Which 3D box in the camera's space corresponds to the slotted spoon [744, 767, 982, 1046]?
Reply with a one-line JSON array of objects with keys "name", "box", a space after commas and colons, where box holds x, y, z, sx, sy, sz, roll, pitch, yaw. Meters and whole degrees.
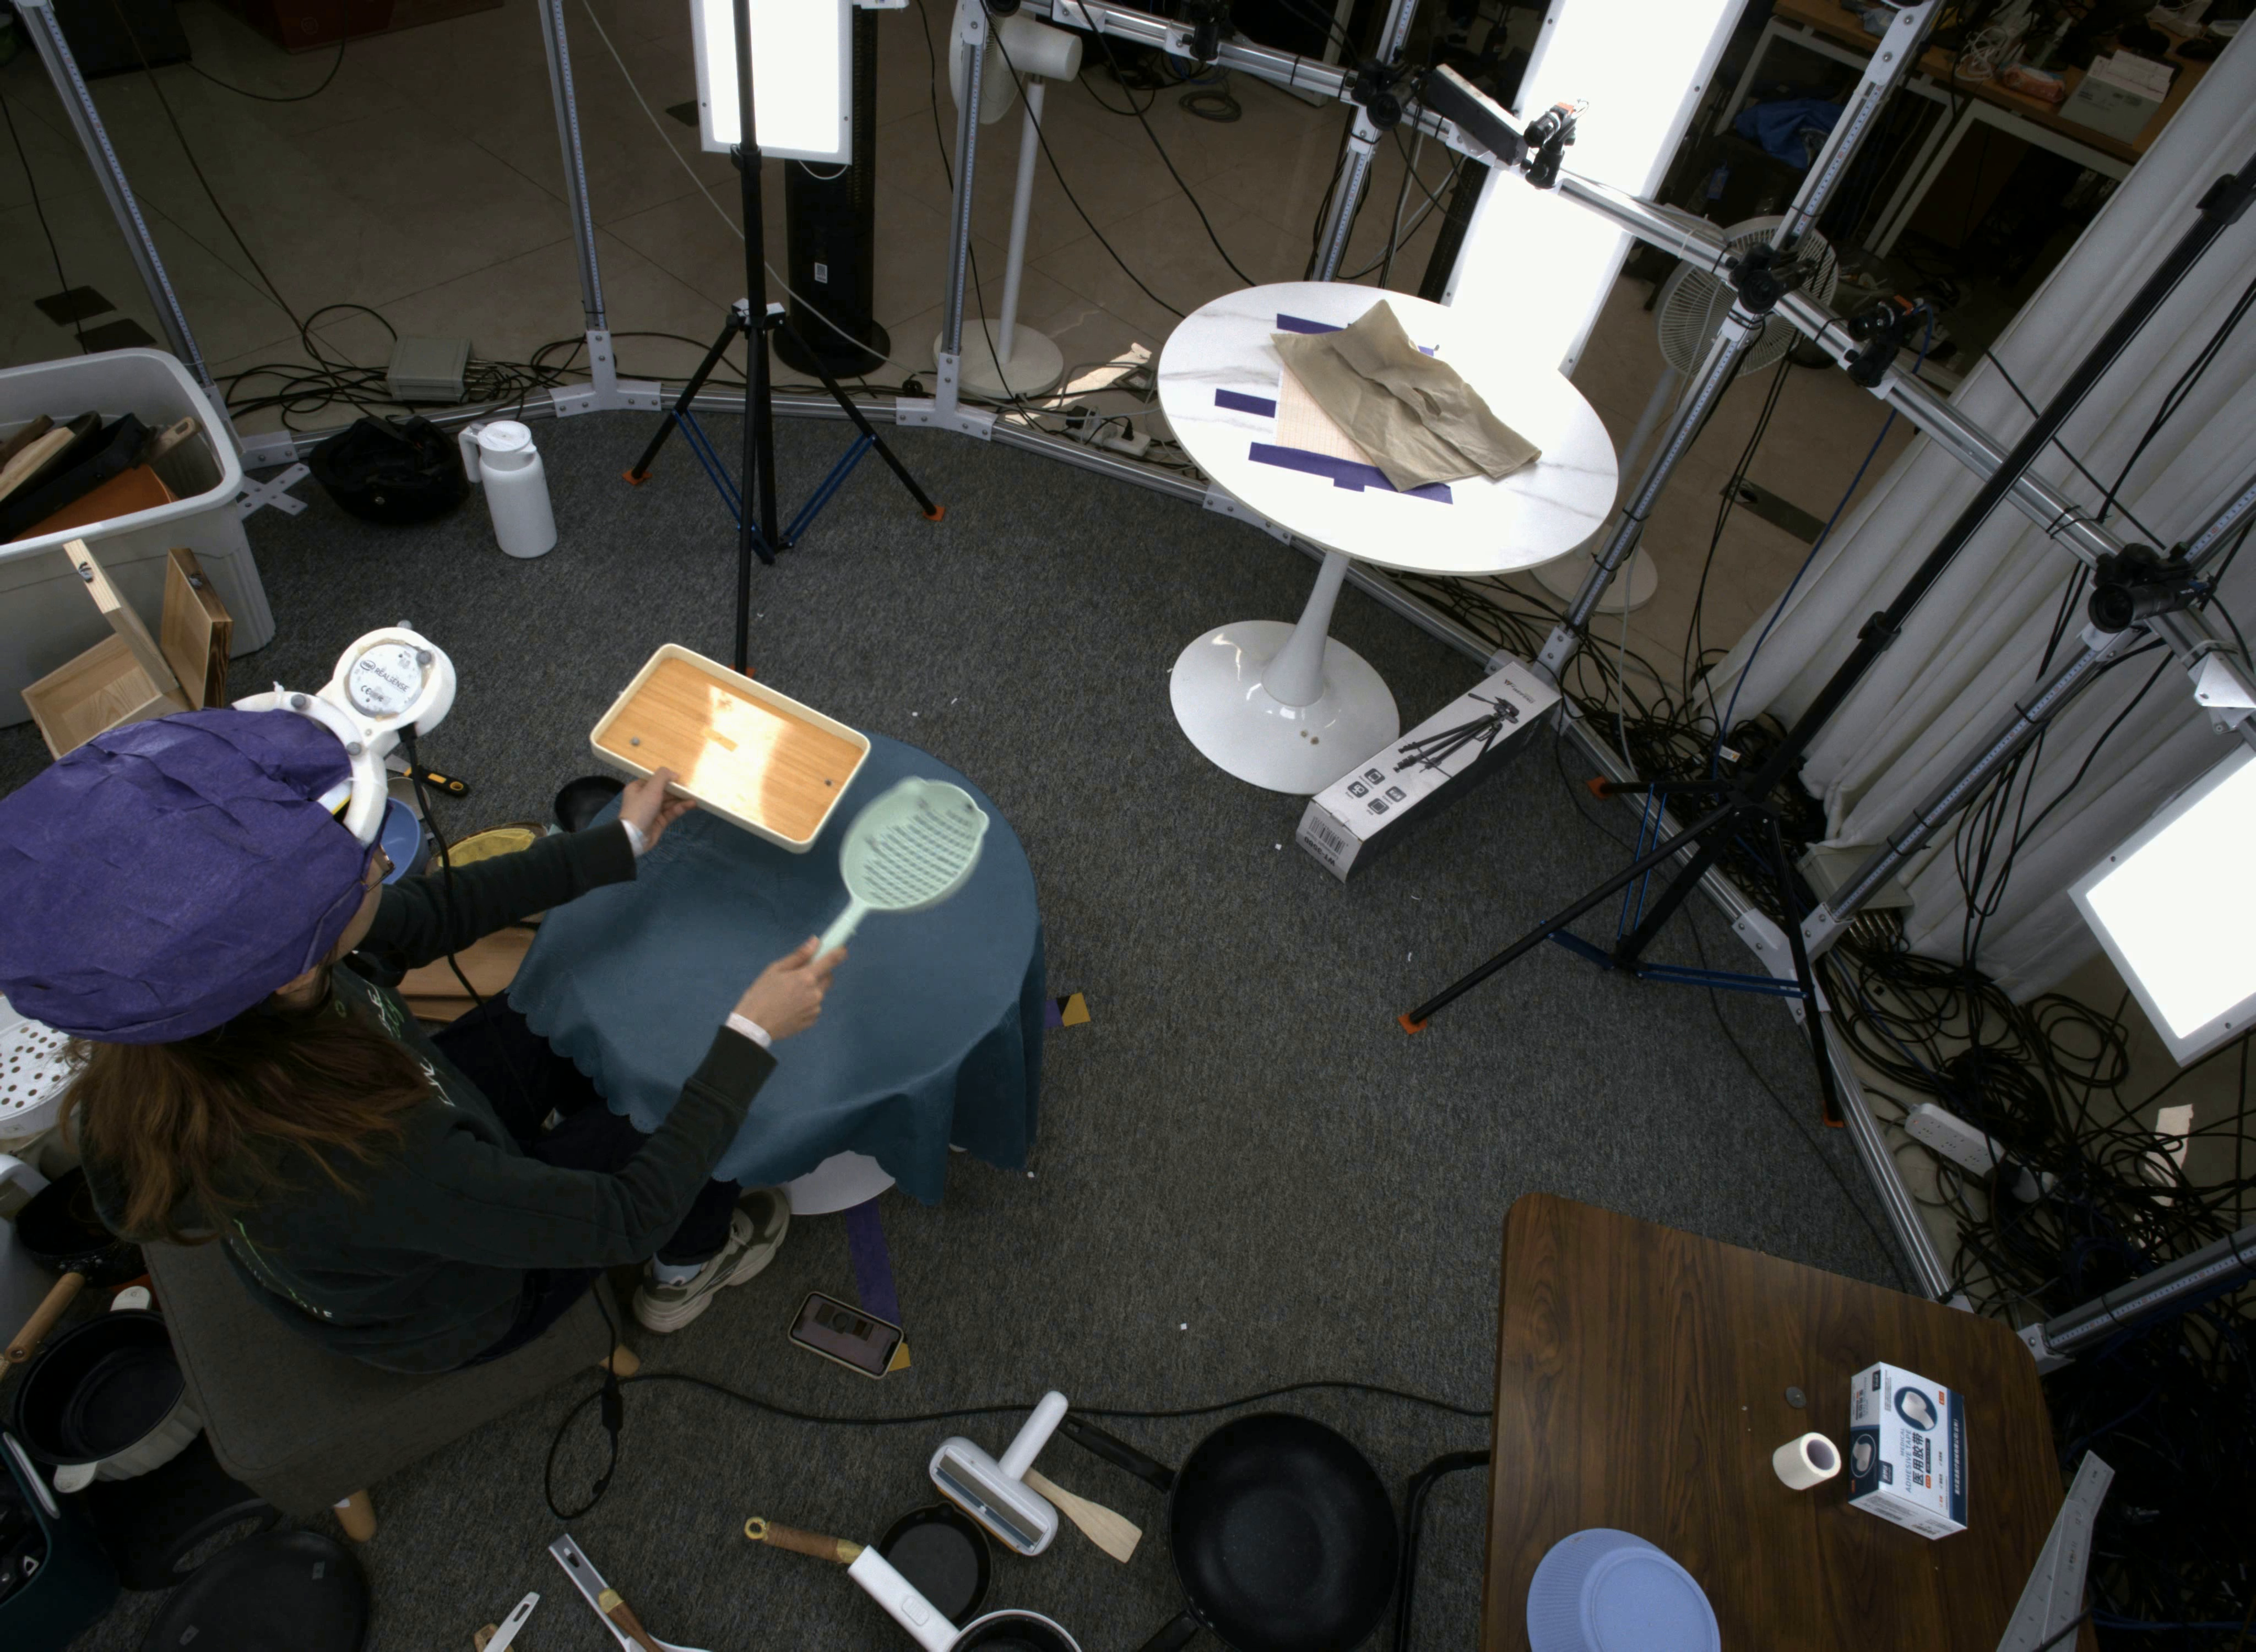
[{"name": "slotted spoon", "box": [-0.304, 0.088, 1.431, 0.163, 0.078, 0.358, 27, 61, 29]}]

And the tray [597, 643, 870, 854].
[{"name": "tray", "box": [-0.494, -0.101, 1.613, 0.300, 0.027, 0.190, 27, 54, -5]}]
